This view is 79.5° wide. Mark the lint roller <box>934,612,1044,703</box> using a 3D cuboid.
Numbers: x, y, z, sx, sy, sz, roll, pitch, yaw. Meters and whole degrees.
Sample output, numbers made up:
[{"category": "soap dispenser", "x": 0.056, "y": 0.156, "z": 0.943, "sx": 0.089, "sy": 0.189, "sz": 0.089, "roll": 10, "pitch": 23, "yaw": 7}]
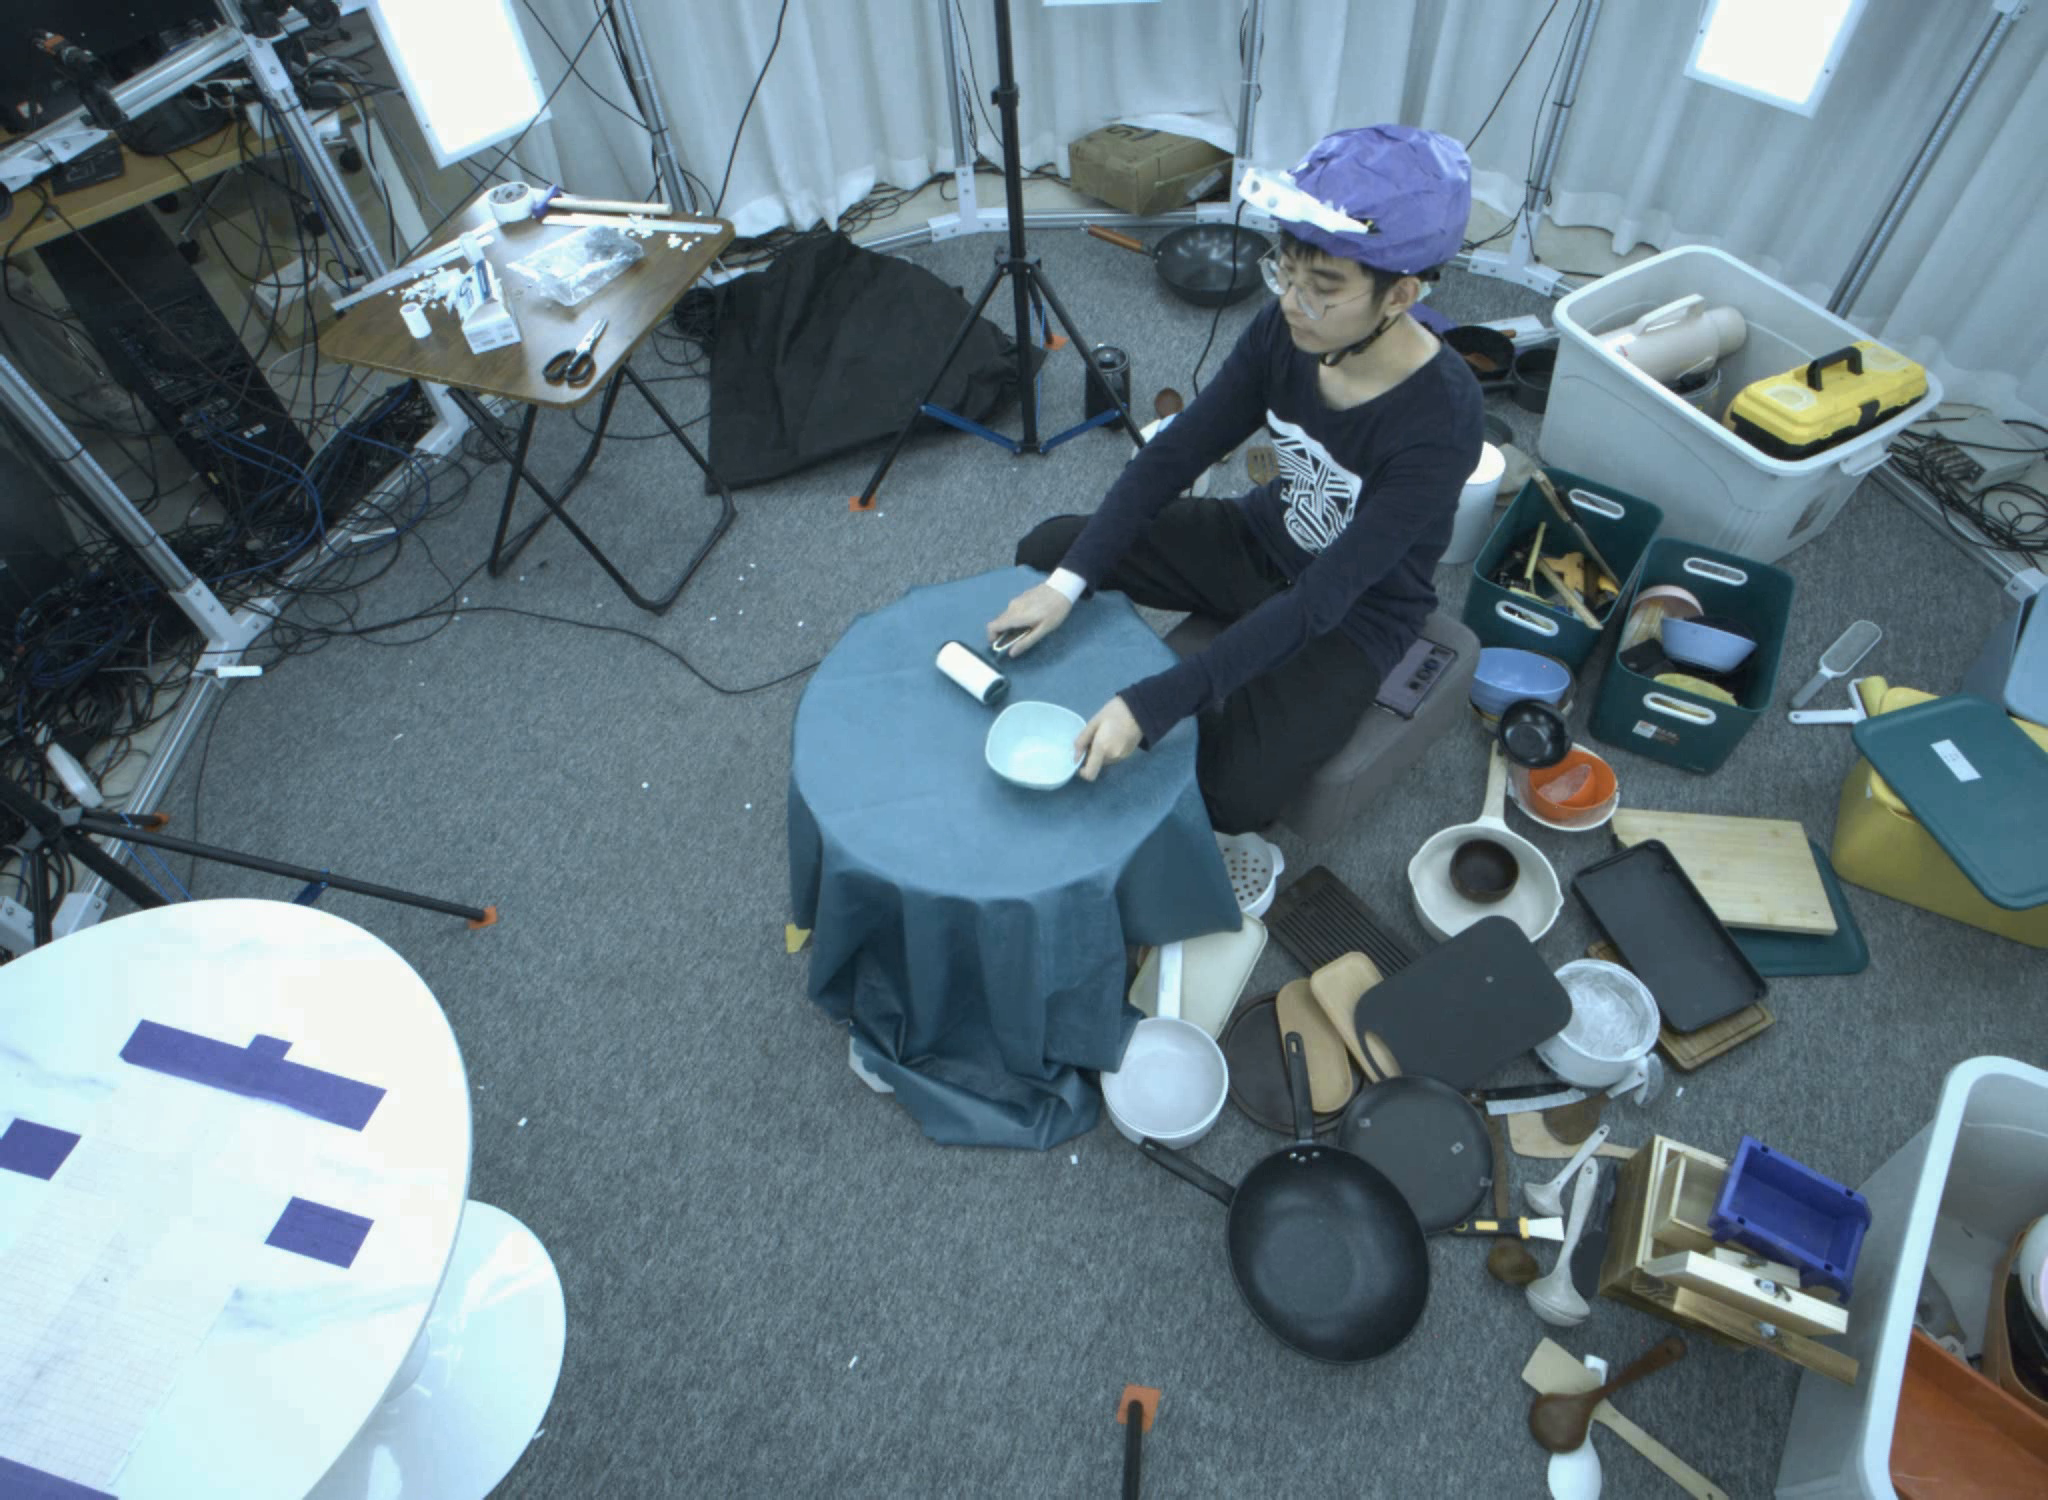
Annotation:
[{"category": "lint roller", "x": -0.036, "y": -0.161, "z": 1.866, "sx": 0.132, "sy": 0.049, "sz": 0.181, "roll": 38, "pitch": 72, "yaw": 22}]

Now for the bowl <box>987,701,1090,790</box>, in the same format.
[{"category": "bowl", "x": 0.022, "y": 0.004, "z": 1.756, "sx": 0.151, "sy": 0.059, "sz": 0.150, "roll": -1, "pitch": 57, "yaw": 3}]
